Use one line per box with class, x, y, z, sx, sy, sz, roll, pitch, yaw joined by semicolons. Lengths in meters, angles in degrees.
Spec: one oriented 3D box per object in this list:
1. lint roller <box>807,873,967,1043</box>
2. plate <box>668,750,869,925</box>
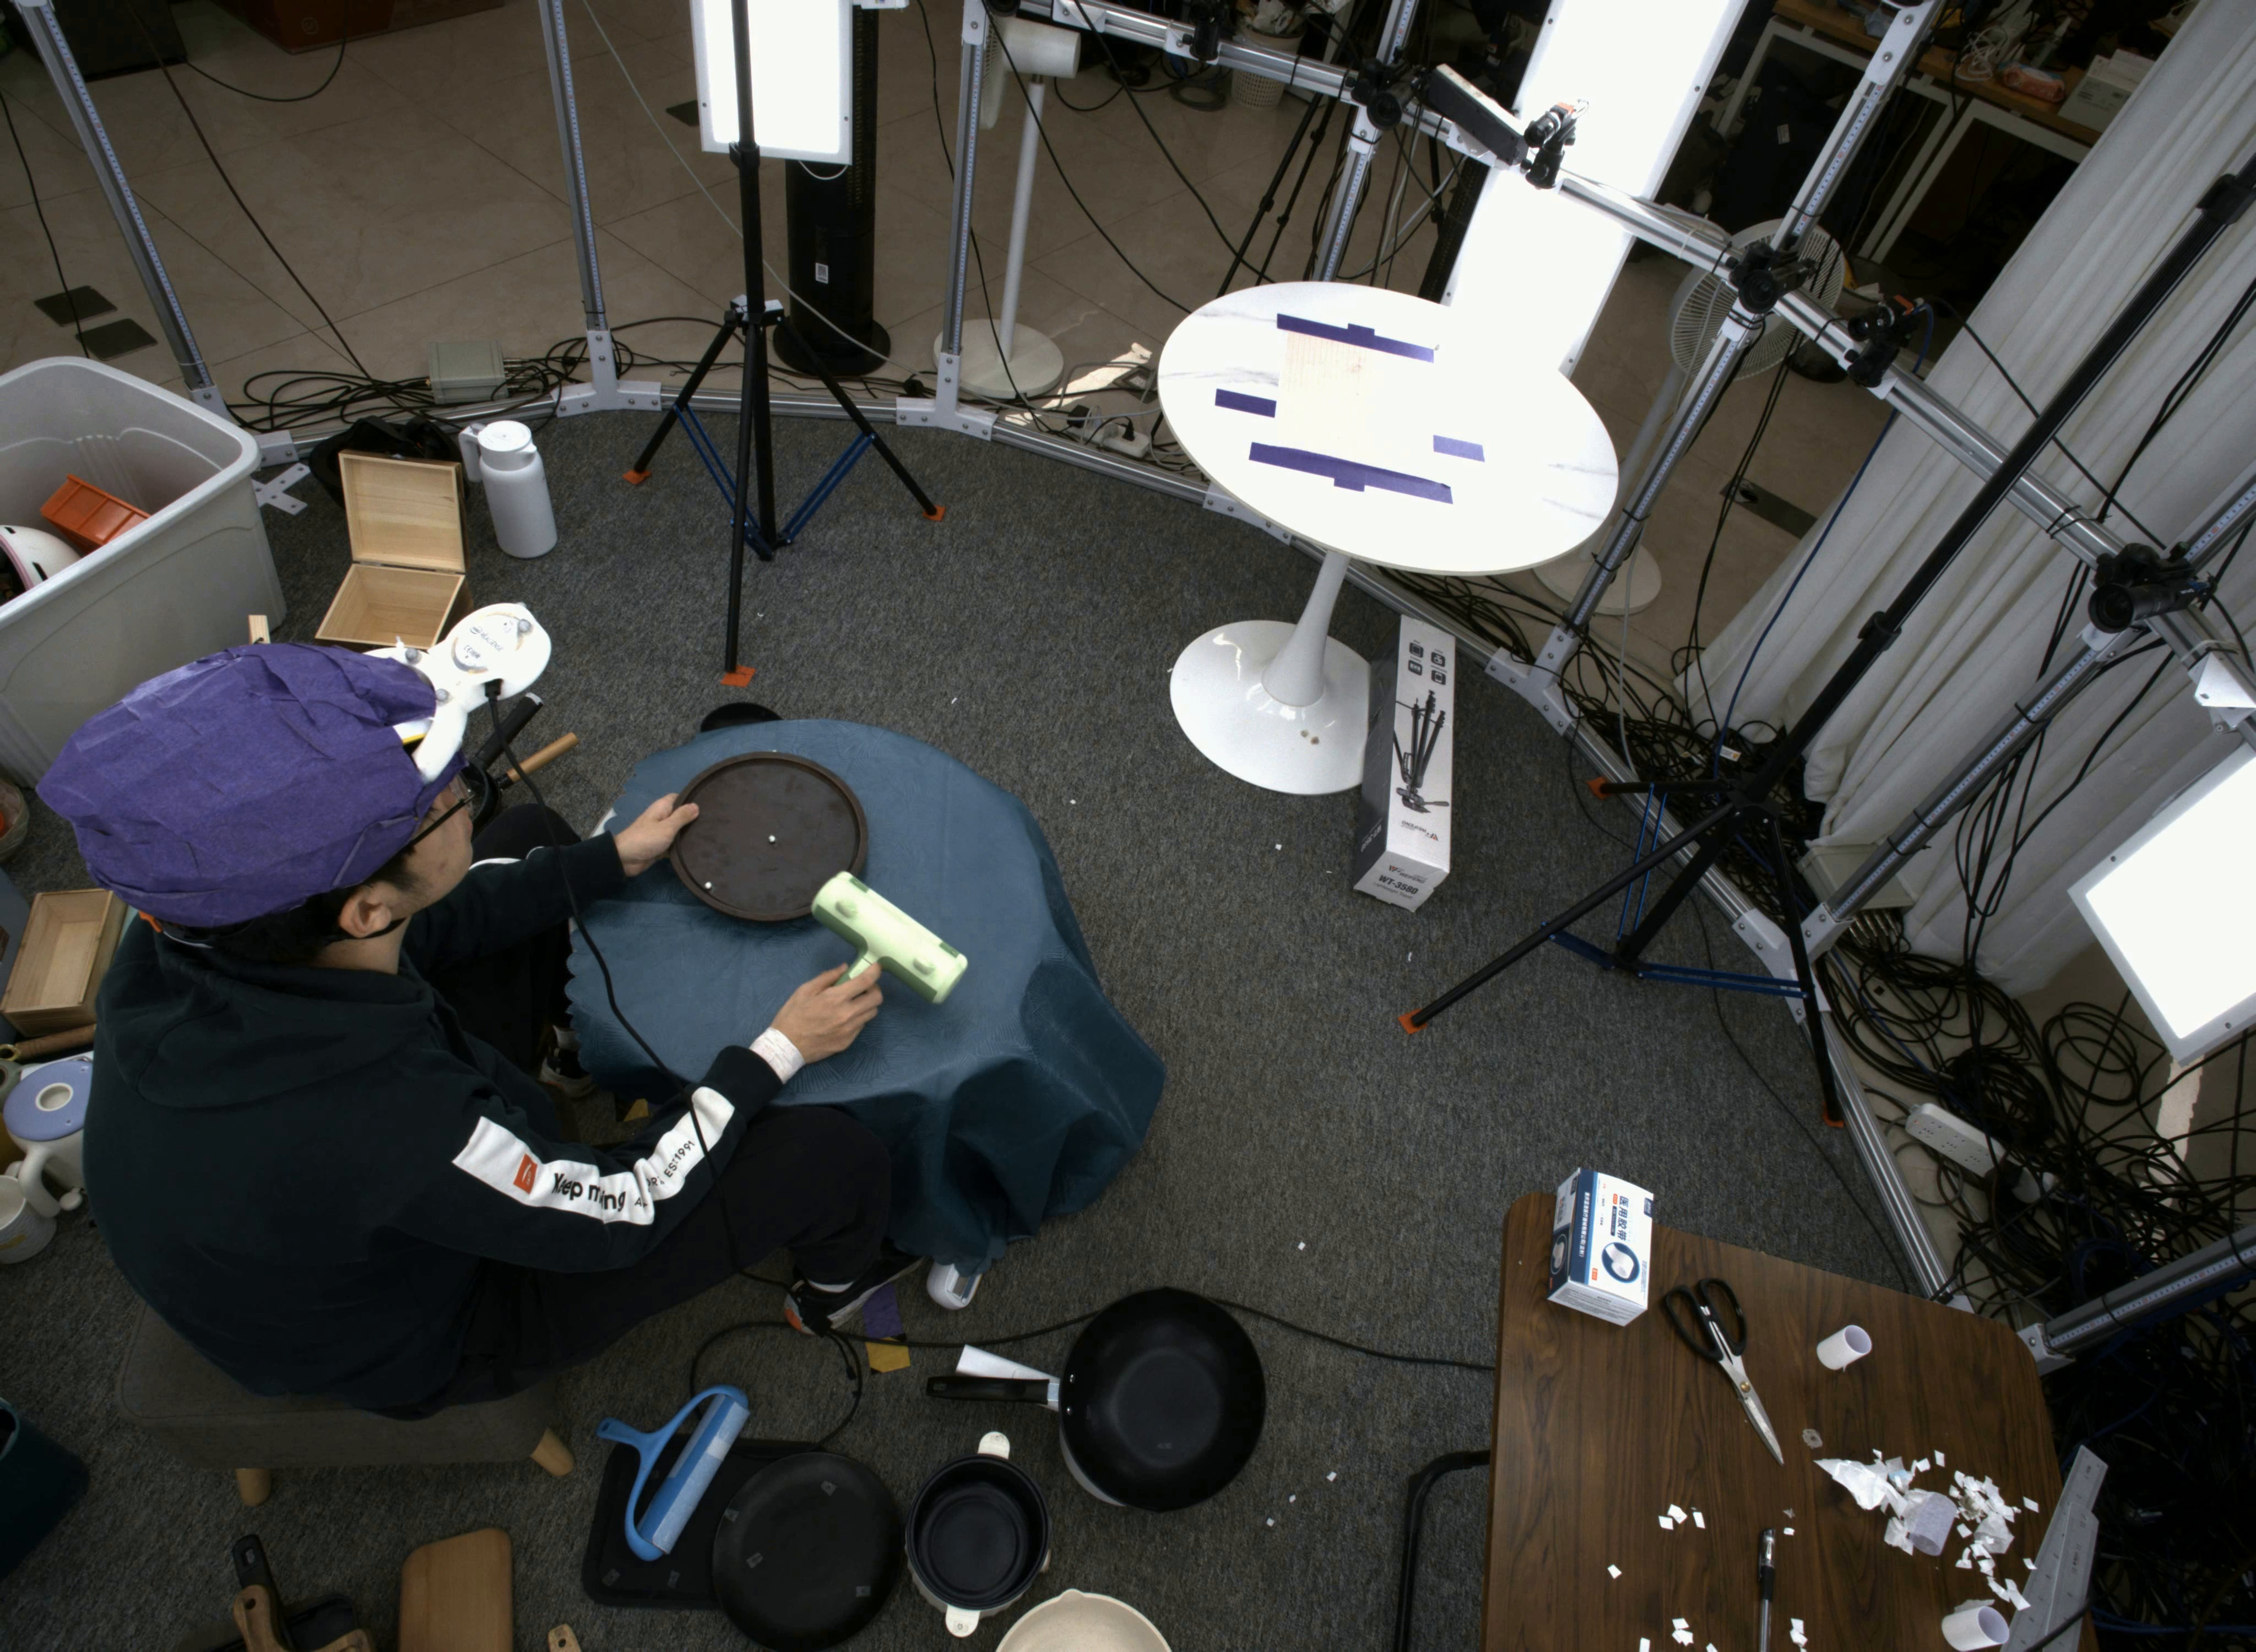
lint roller;-0.319;0.173;1.542;0.197;0.083;0.183;36;61;3
plate;-0.462;0.012;1.669;0.256;0.029;0.251;10;59;-14
